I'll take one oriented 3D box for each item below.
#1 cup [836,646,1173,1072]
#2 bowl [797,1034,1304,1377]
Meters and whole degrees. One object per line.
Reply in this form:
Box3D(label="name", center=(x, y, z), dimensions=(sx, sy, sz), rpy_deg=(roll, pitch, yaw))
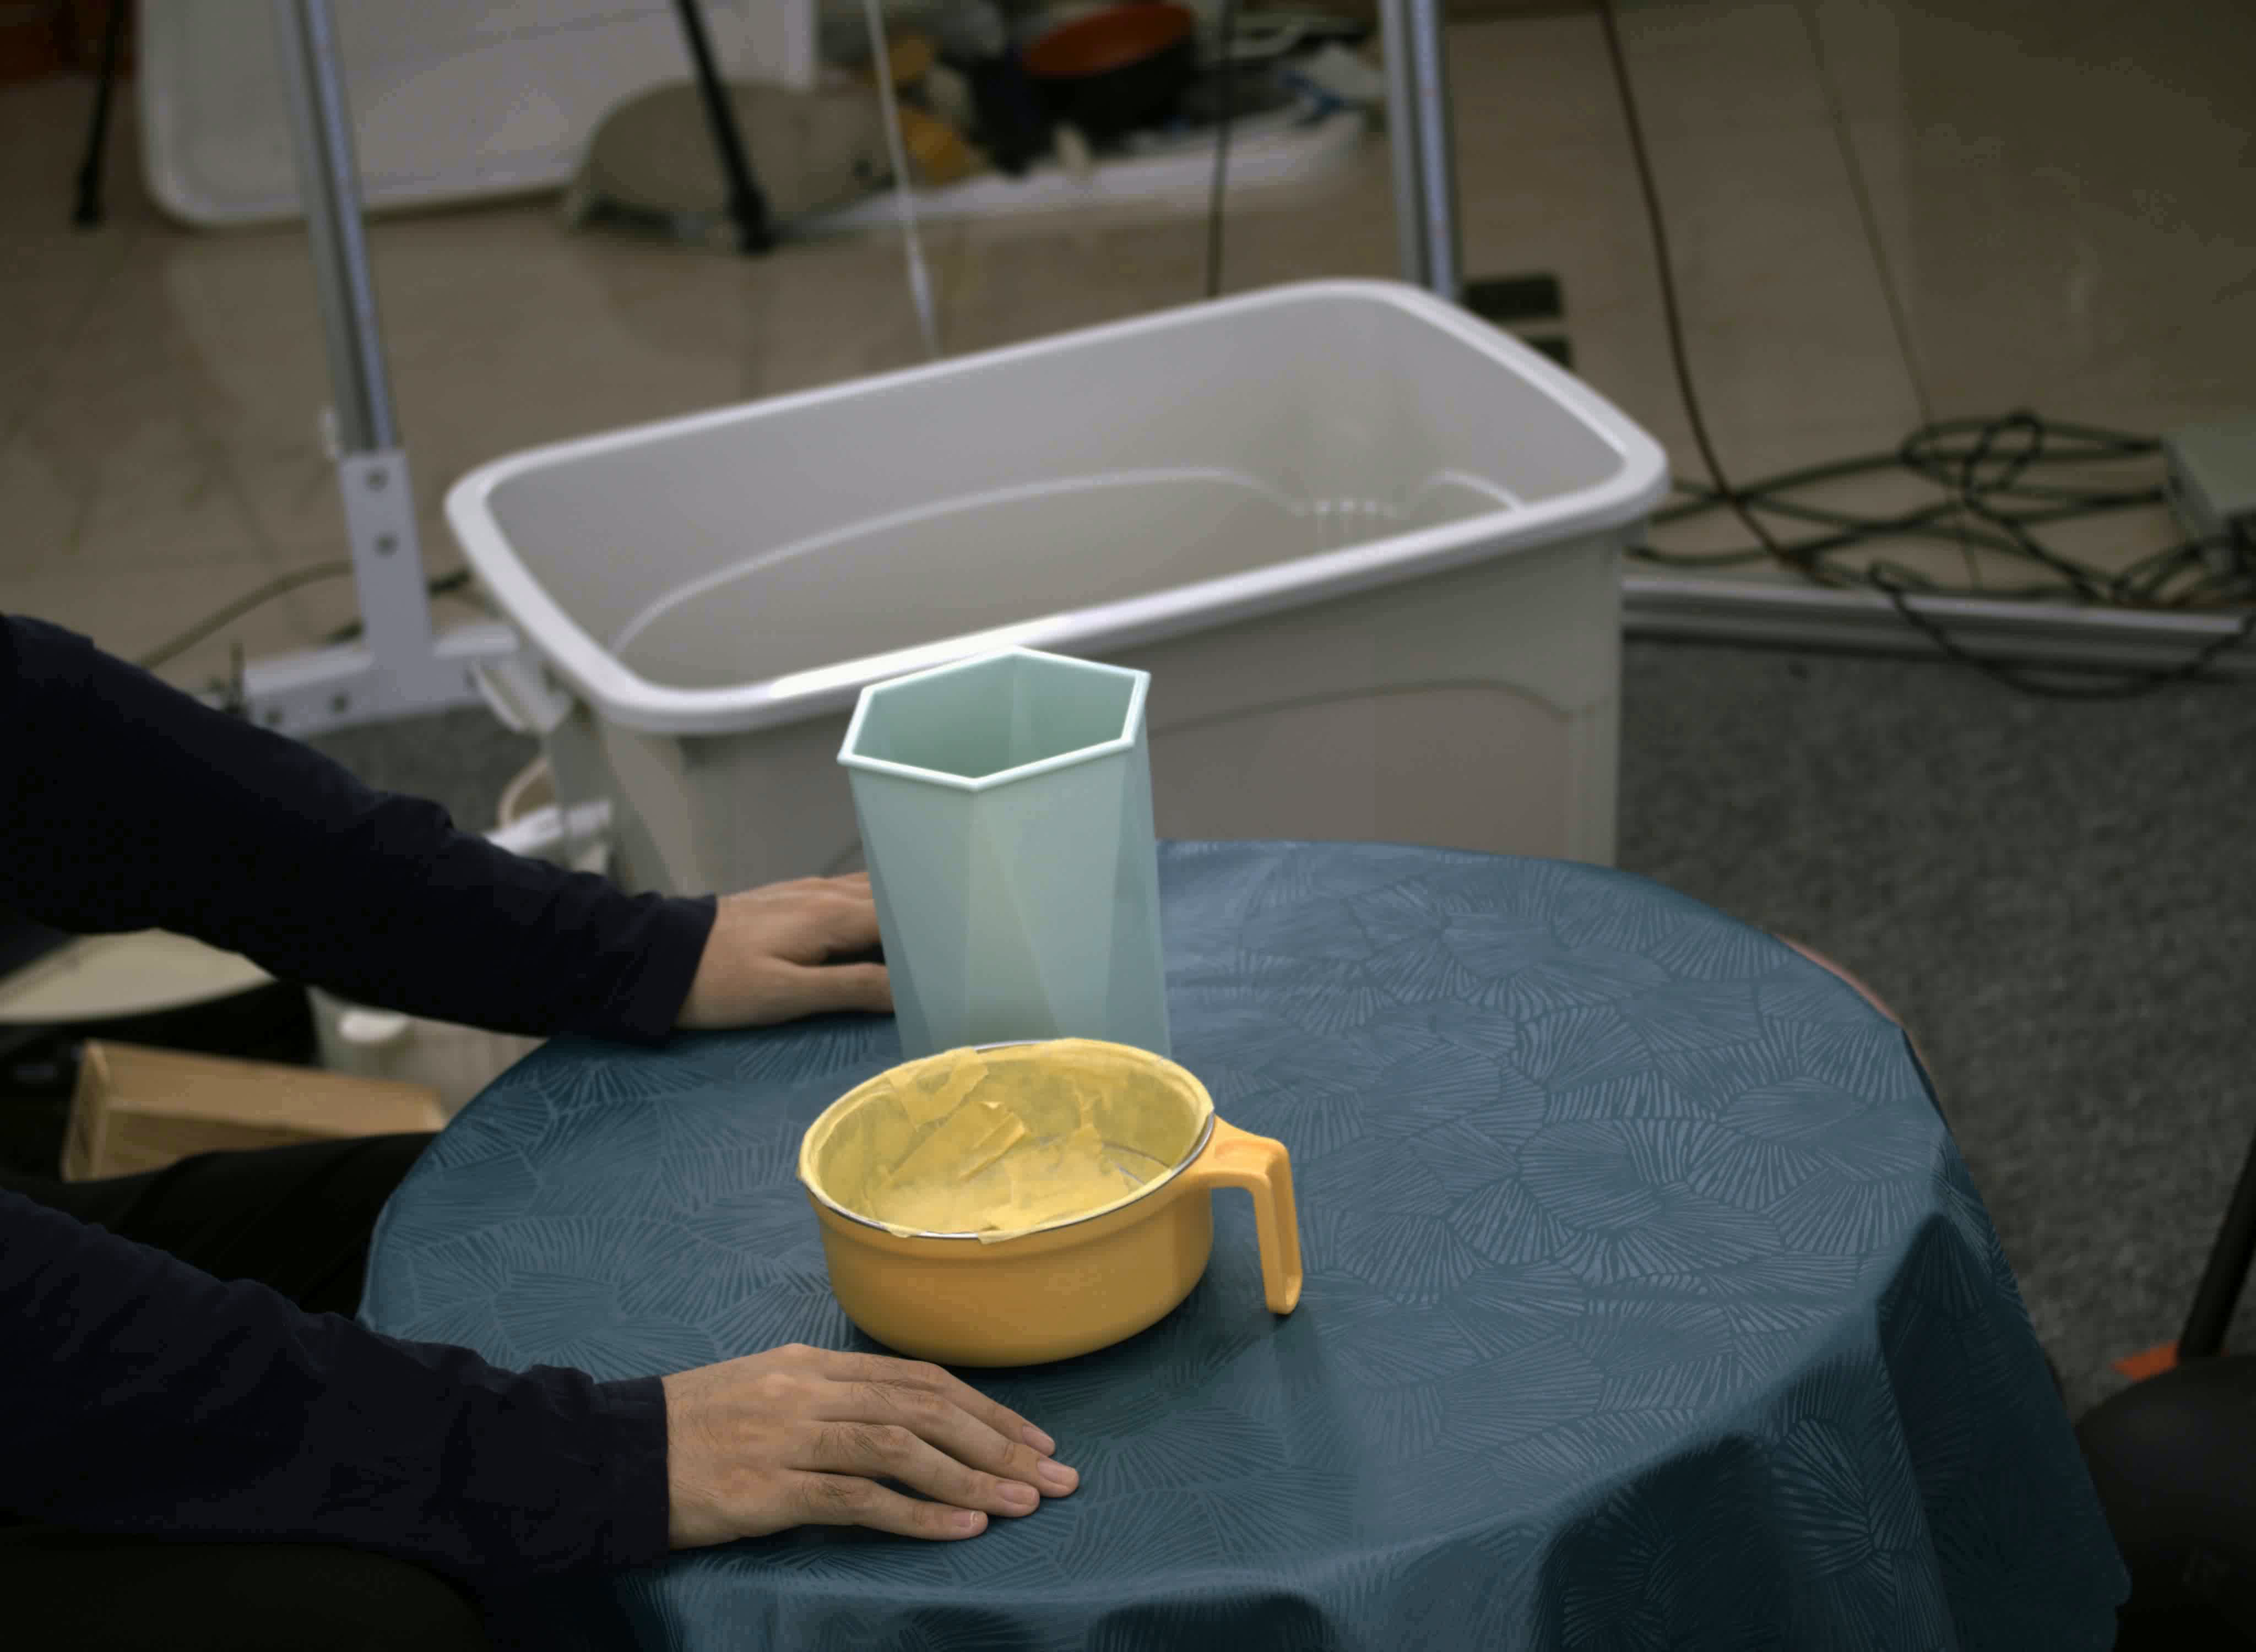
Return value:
Box3D(label="cup", center=(-0.042, 0.028, 2.201), dimensions=(0.115, 0.165, 0.129), rpy_deg=(-4, 25, 7))
Box3D(label="bowl", center=(-0.028, 0.143, 2.067), dimensions=(0.179, 0.075, 0.151), rpy_deg=(-2, 25, 15))
